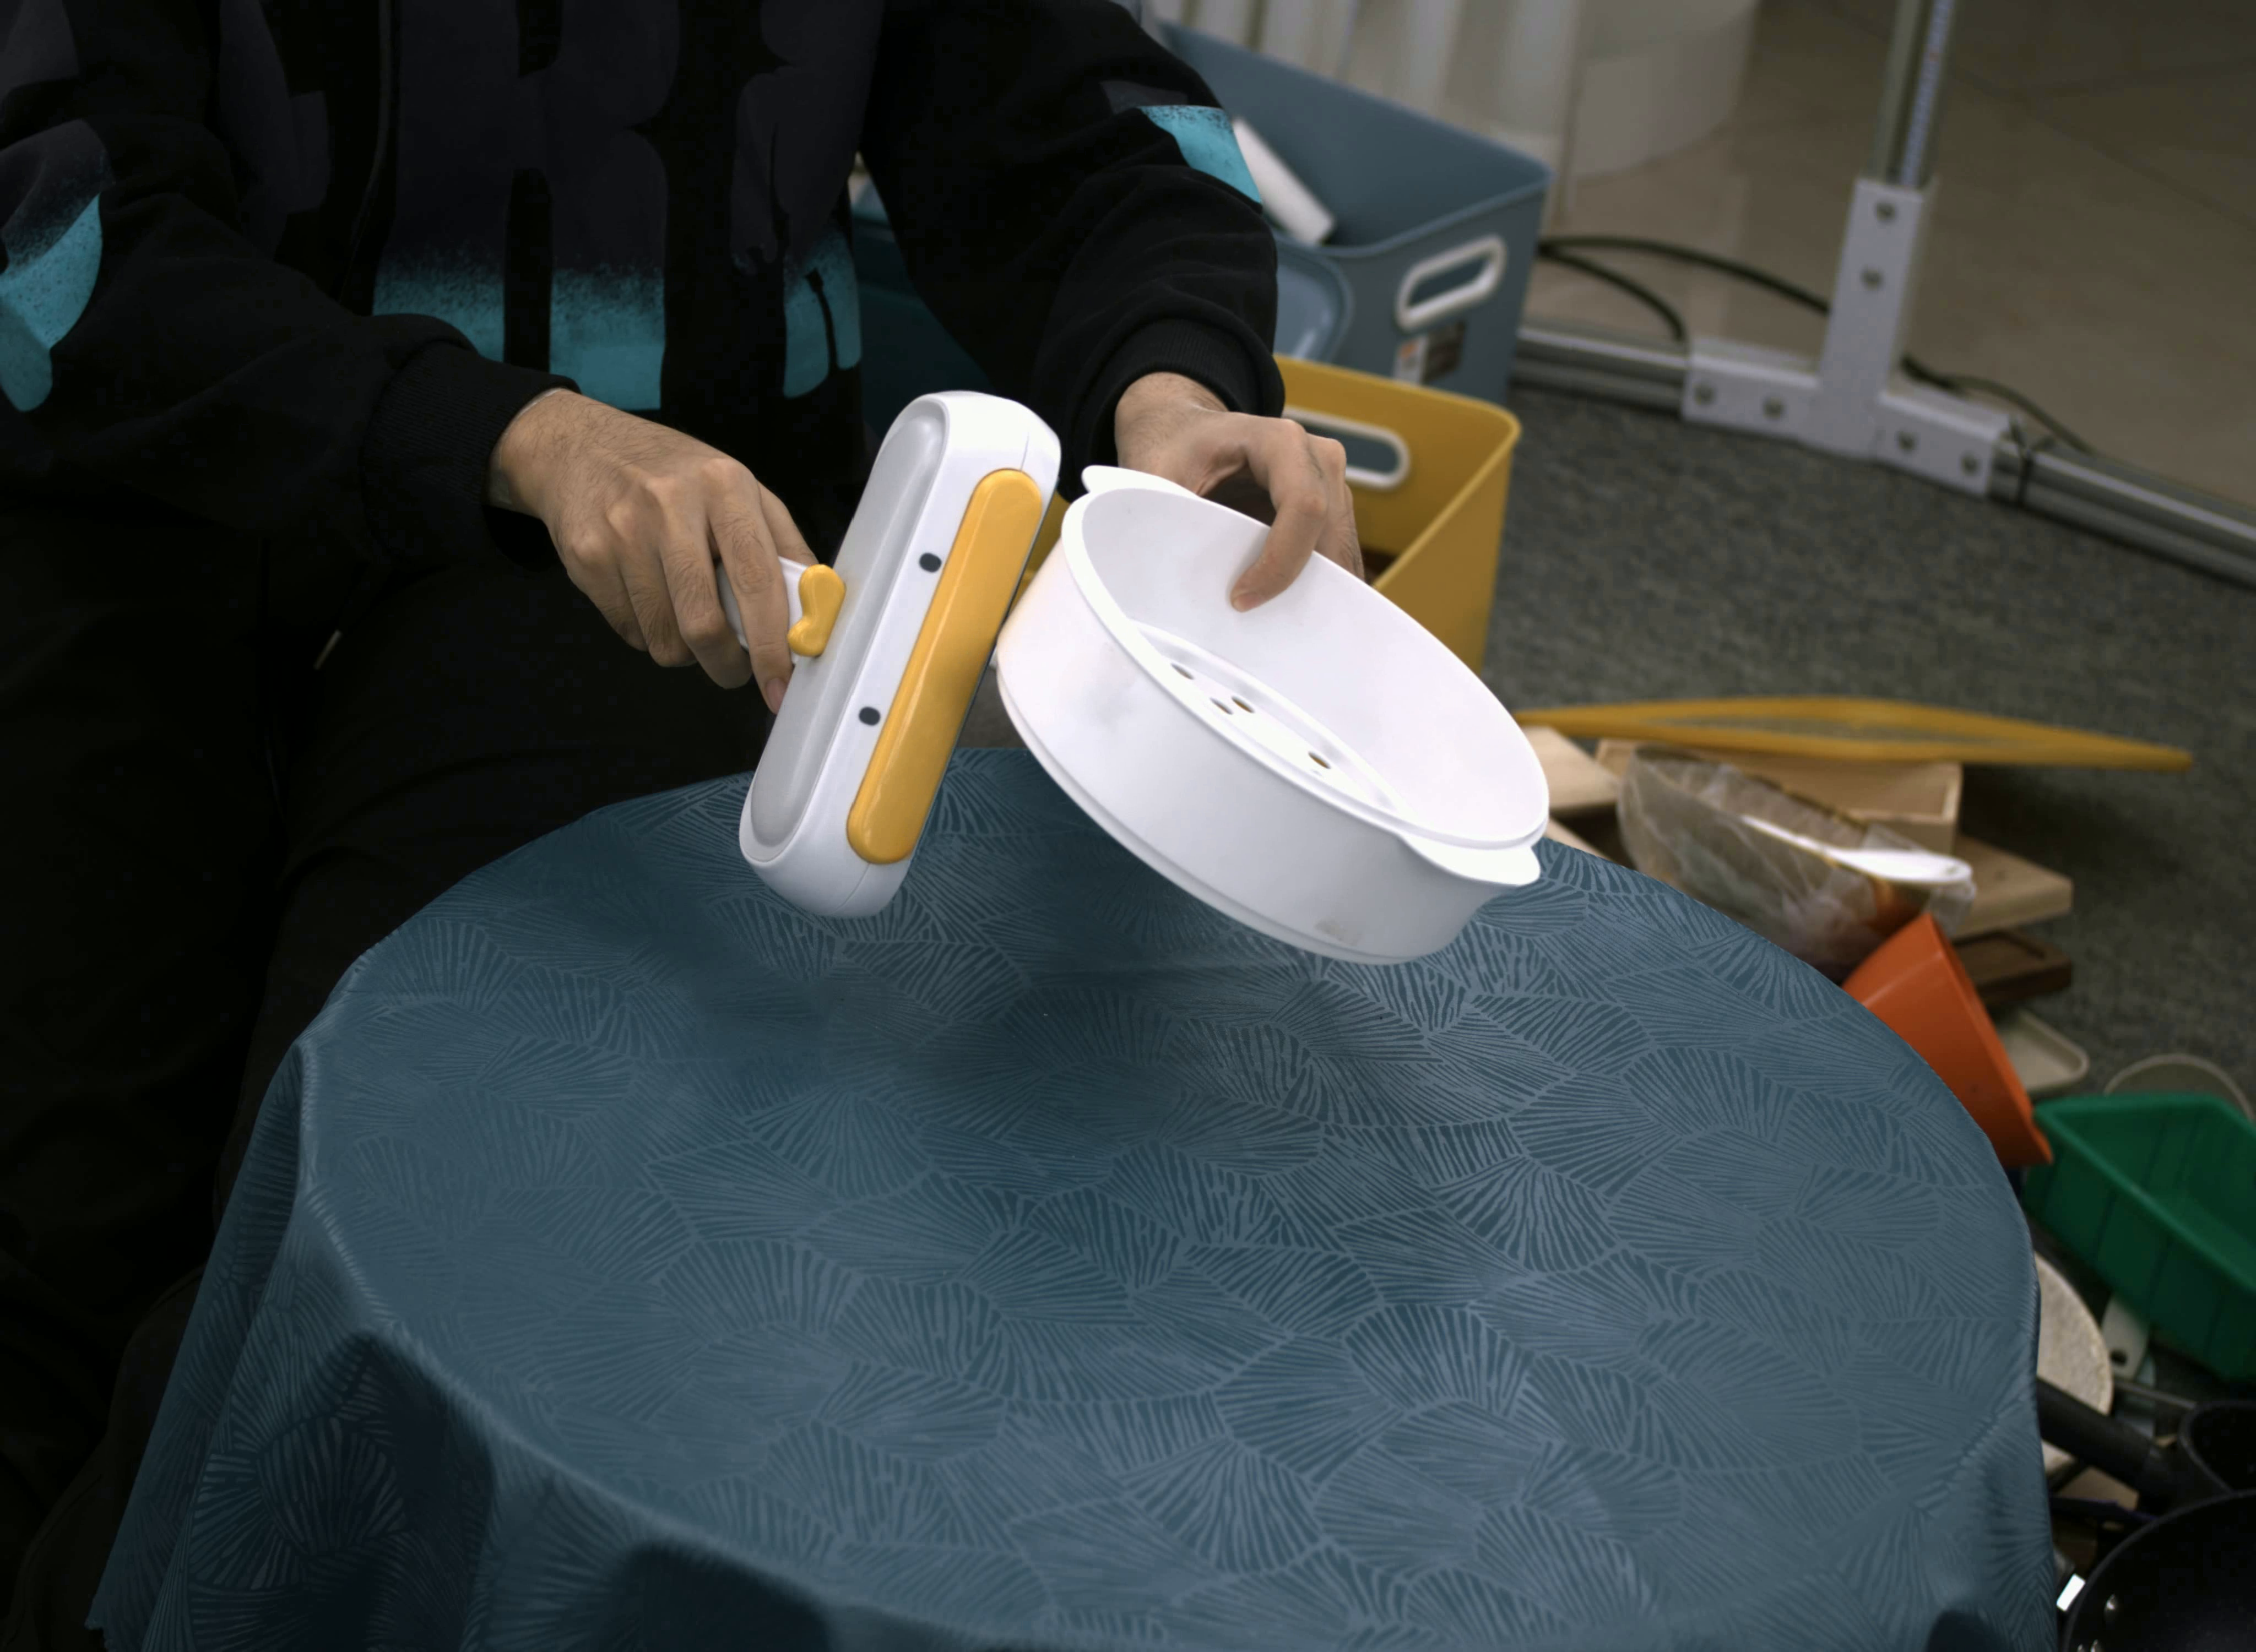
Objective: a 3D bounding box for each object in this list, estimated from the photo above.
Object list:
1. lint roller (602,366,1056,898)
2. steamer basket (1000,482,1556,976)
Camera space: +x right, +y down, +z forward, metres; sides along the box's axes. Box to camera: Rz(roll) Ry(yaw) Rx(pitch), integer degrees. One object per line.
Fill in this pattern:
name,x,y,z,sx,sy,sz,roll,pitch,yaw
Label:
lint roller,-0.118,-0.078,1.917,0.073,0.193,0.193,17,-3,-36
steamer basket,0.049,-0.030,1.853,0.200,0.069,0.232,8,31,-49
